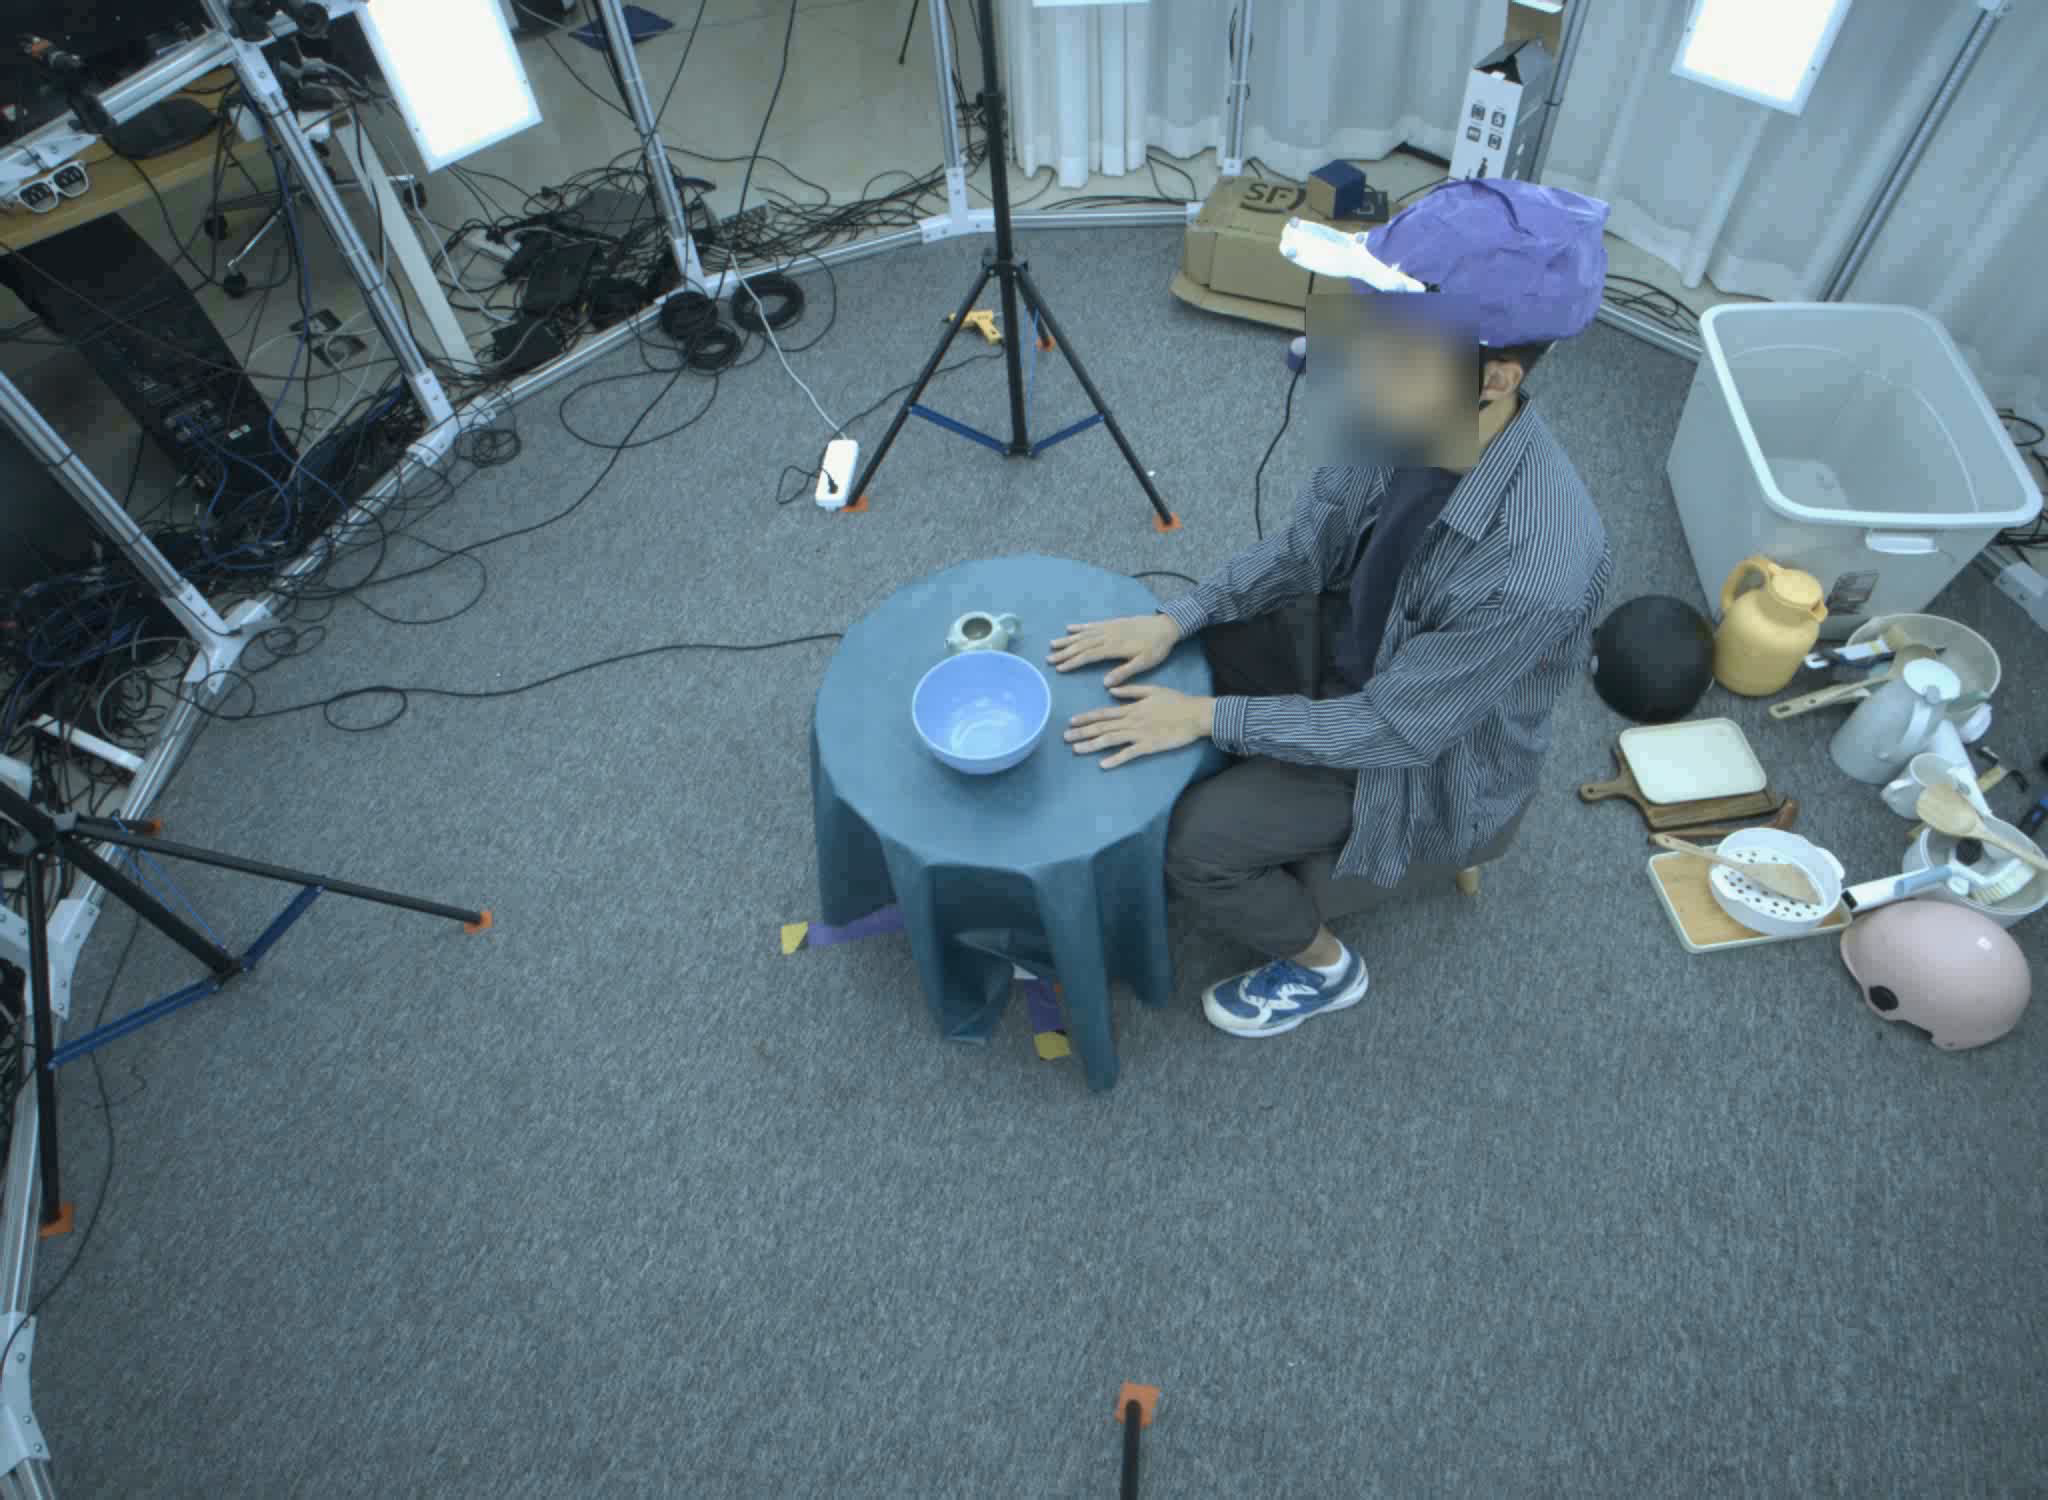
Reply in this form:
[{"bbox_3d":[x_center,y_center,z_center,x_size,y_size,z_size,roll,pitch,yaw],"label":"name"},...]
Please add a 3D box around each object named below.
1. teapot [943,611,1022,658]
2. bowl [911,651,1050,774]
[{"bbox_3d":[-0.063,-0.173,1.880,0.129,0.061,0.090,-22,54,-14],"label":"teapot"},{"bbox_3d":[-0.058,-0.039,1.764,0.196,0.096,0.194,0,54,2],"label":"bowl"}]
